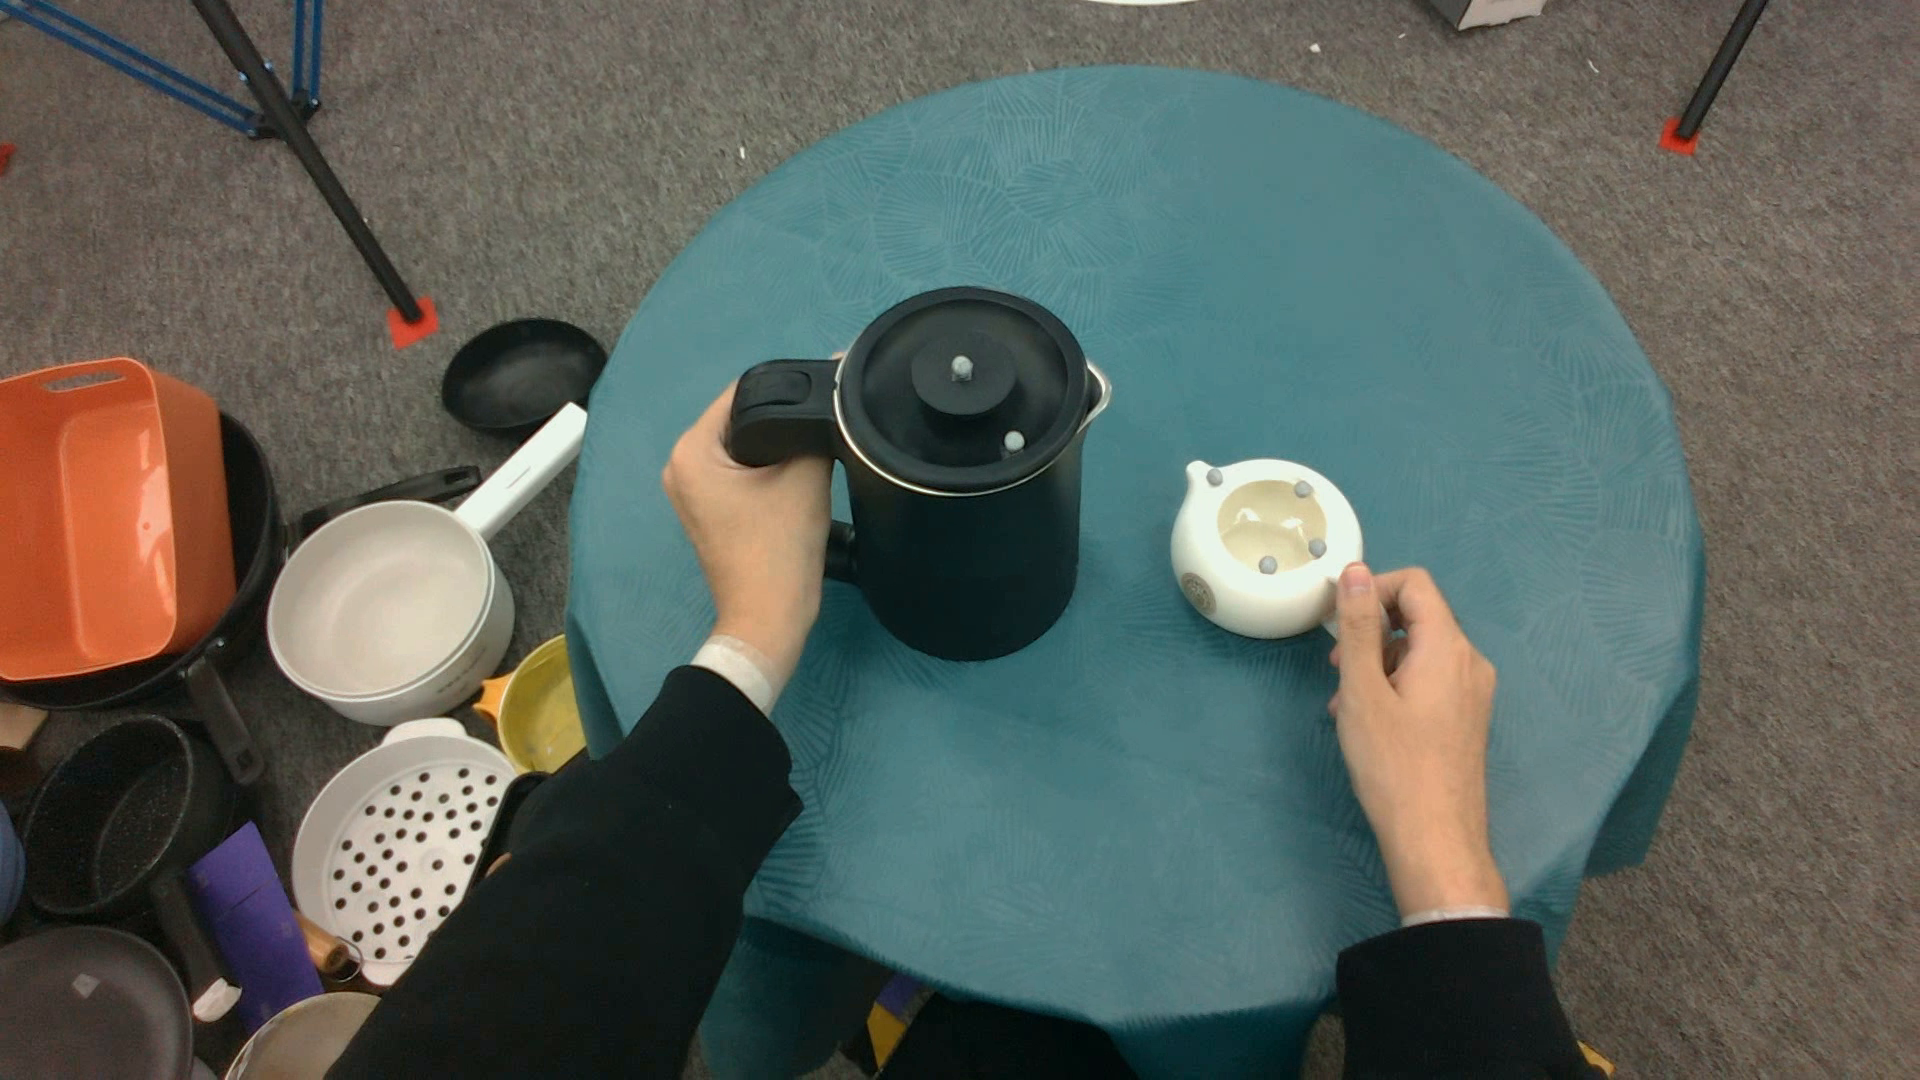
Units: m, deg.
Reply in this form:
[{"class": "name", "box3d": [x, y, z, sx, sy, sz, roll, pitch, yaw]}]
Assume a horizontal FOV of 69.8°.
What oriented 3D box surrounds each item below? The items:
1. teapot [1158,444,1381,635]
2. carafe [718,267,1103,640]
[{"class": "teapot", "box3d": [0.154, 0.002, 0.683, 0.127, 0.056, 0.094, 34, 64, 19]}, {"class": "carafe", "box3d": [-0.026, -0.038, 0.645, 0.171, 0.172, 0.115, 1, 62, -1]}]
